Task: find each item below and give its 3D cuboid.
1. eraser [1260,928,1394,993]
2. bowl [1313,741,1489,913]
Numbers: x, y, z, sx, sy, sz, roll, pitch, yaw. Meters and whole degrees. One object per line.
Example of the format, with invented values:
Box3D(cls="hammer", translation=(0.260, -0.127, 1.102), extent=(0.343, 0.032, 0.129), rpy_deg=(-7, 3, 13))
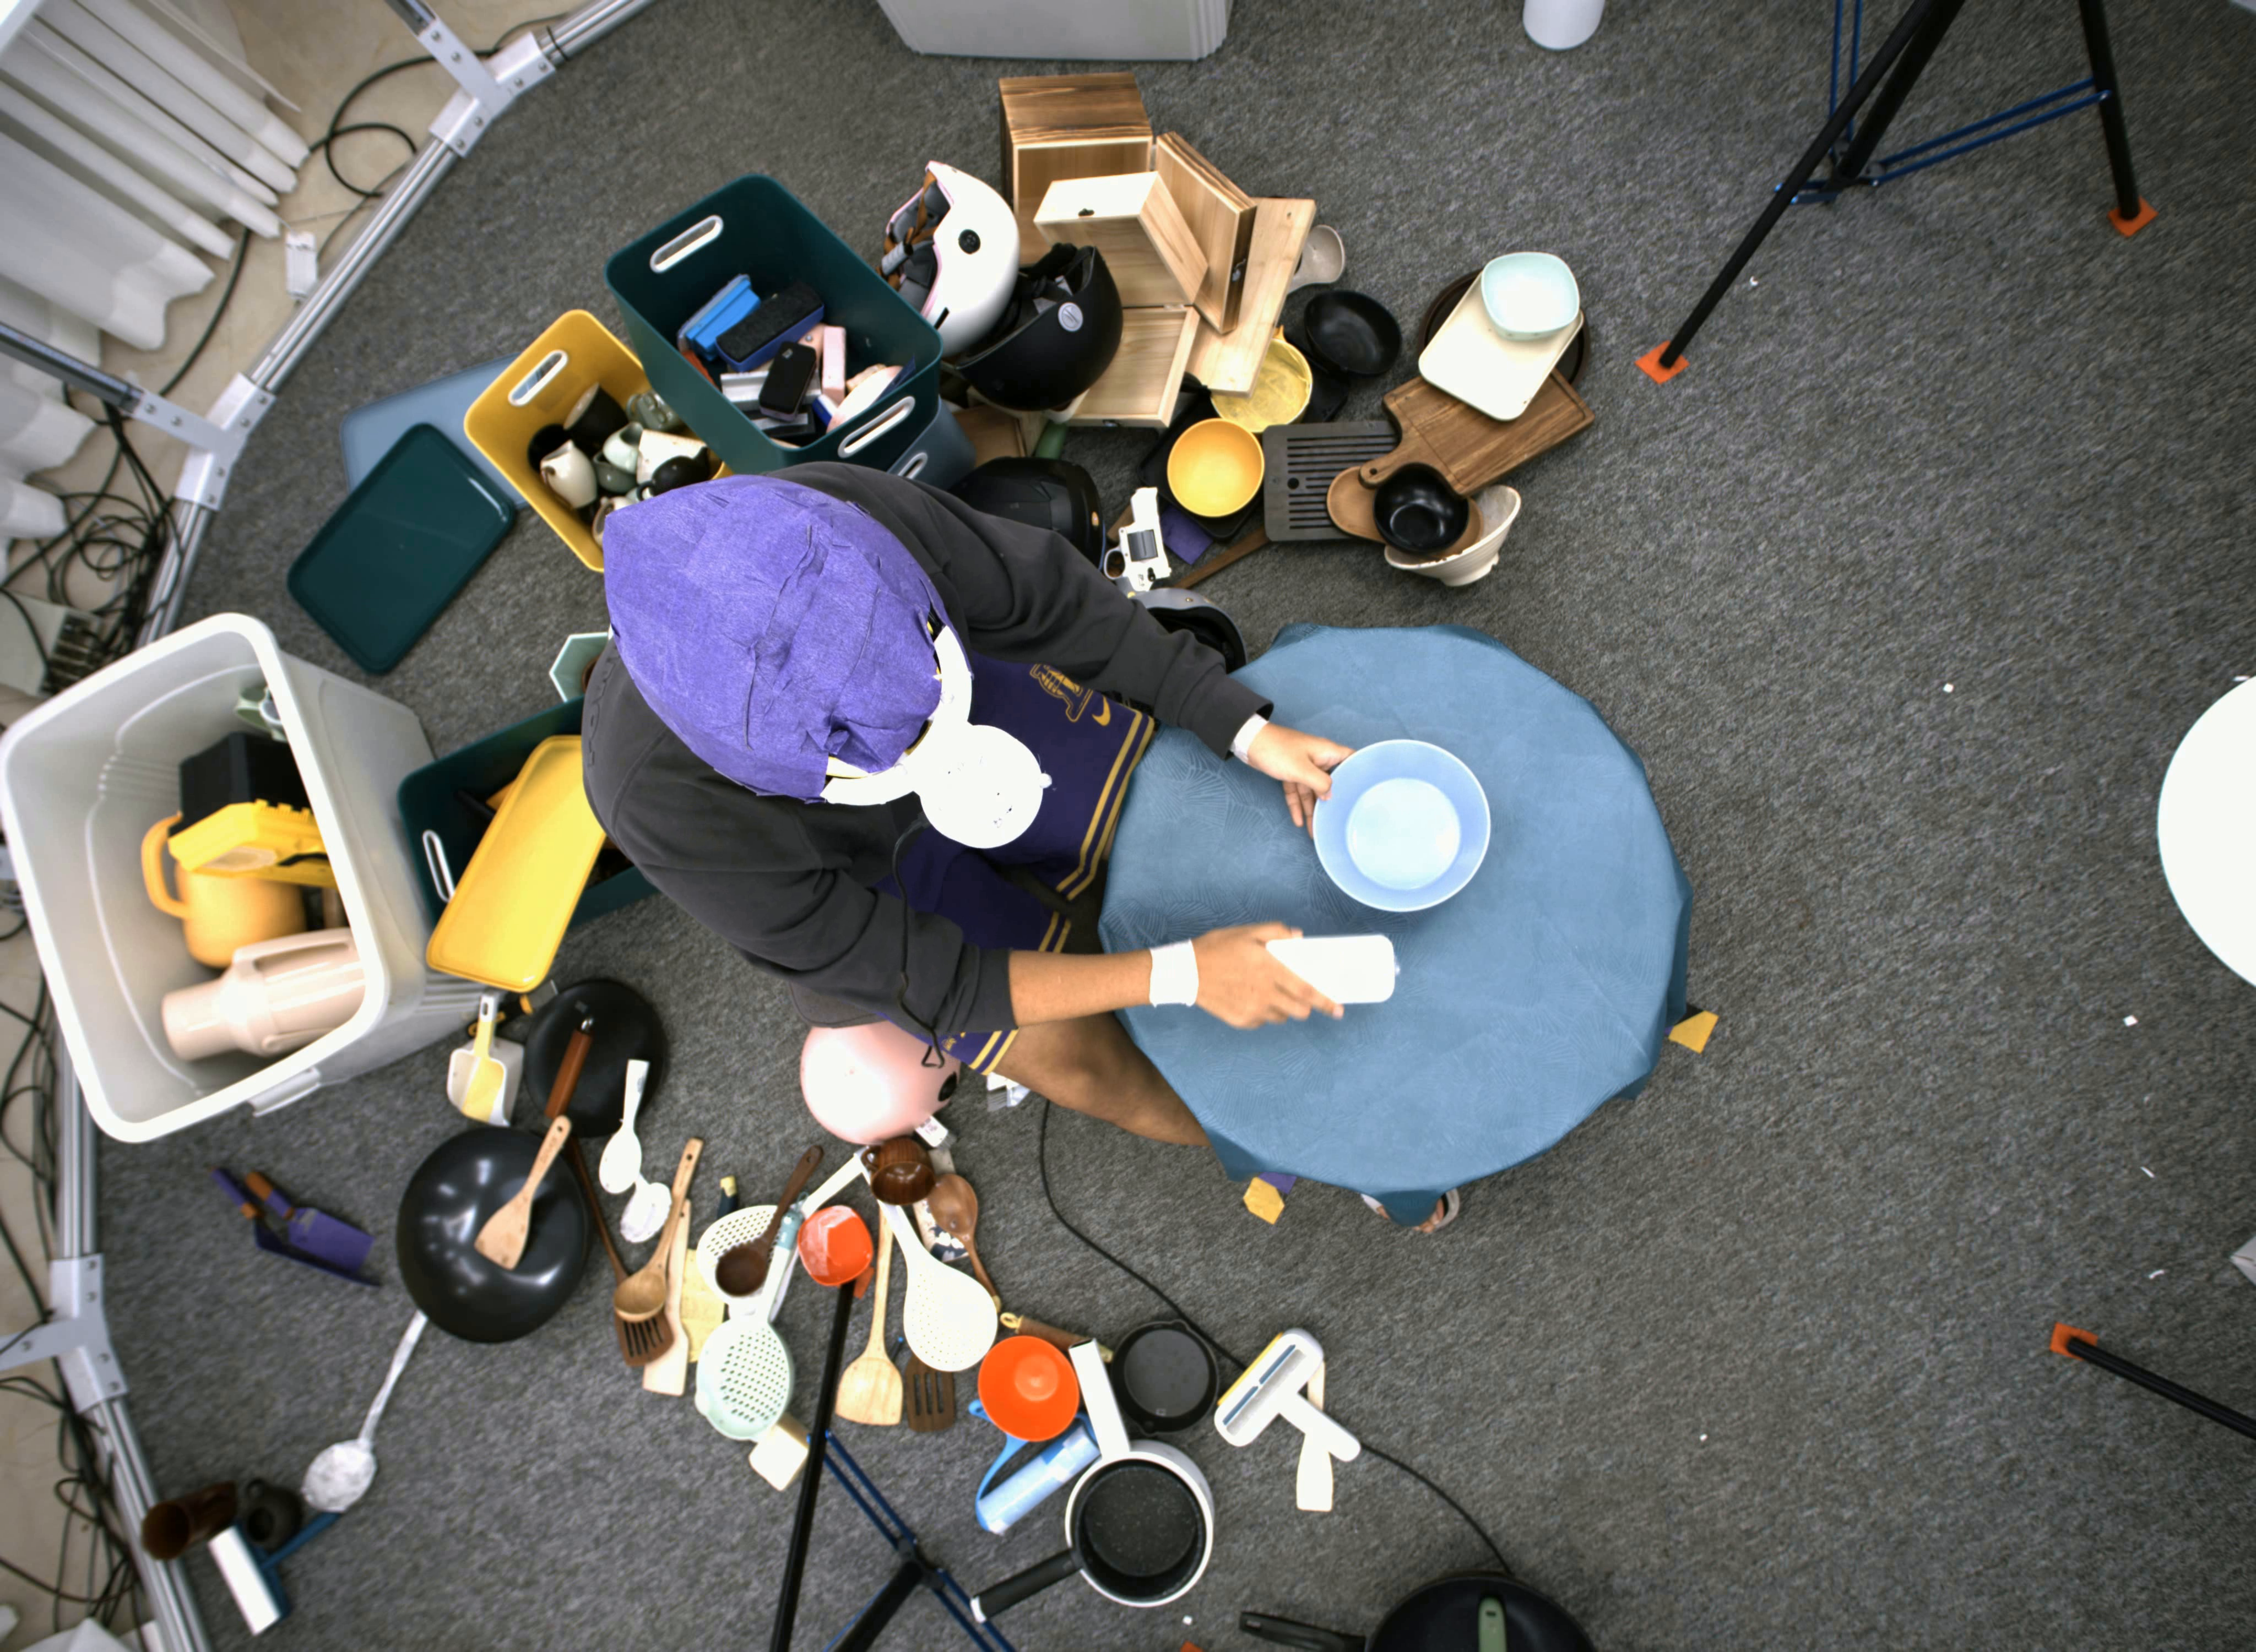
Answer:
Box3D(cls="eraser", translation=(0.197, 0.131, 1.378), extent=(0.132, 0.034, 0.064), rpy_deg=(-2, 101, 7))
Box3D(cls="bowl", translation=(0.280, 0.004, 1.414), extent=(0.177, 0.070, 0.174), rpy_deg=(-2, 82, 14))
